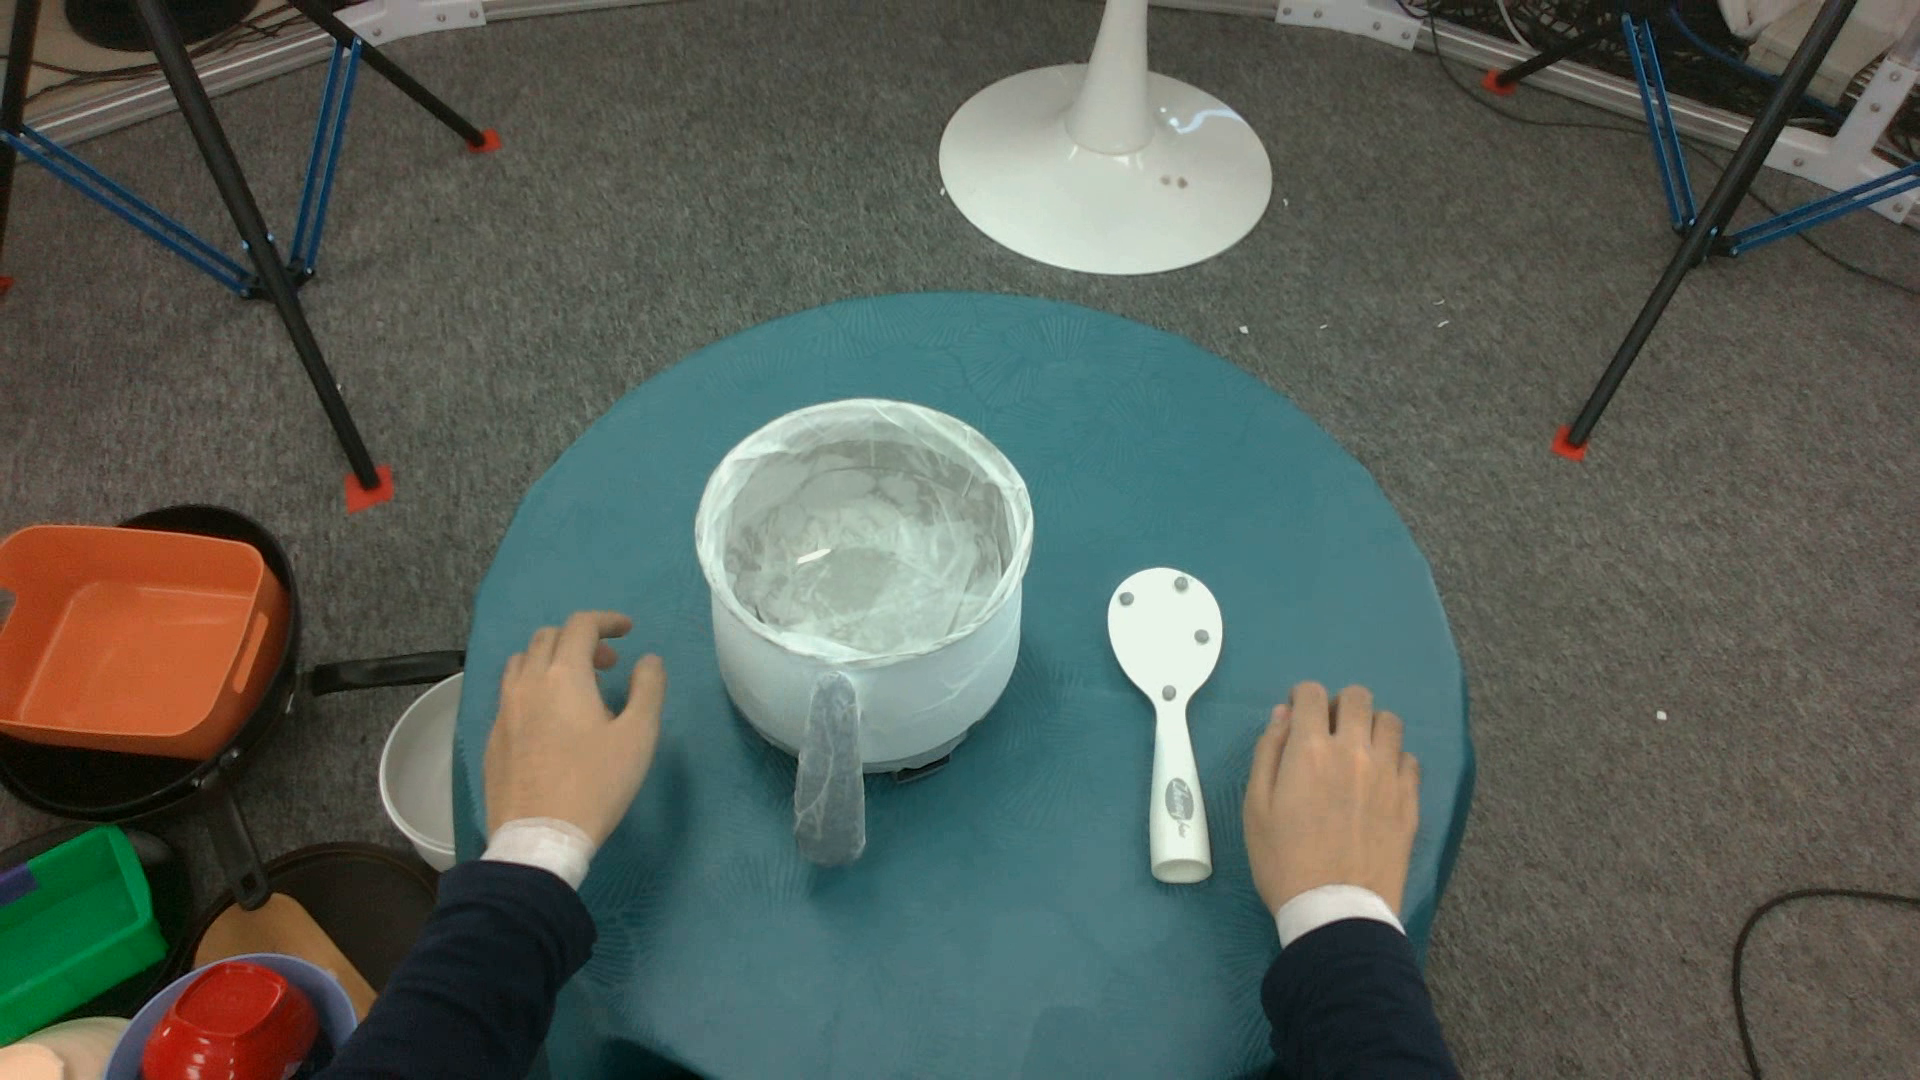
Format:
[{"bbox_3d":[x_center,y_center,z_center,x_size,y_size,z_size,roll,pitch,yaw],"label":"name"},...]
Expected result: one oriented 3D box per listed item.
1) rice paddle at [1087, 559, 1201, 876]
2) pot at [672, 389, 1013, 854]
[{"bbox_3d":[0.110,0.092,0.795,0.069,0.029,0.206,1,52,0],"label":"rice paddle"},{"bbox_3d":[-0.065,0.046,0.754,0.179,0.136,0.235,5,53,2],"label":"pot"}]
